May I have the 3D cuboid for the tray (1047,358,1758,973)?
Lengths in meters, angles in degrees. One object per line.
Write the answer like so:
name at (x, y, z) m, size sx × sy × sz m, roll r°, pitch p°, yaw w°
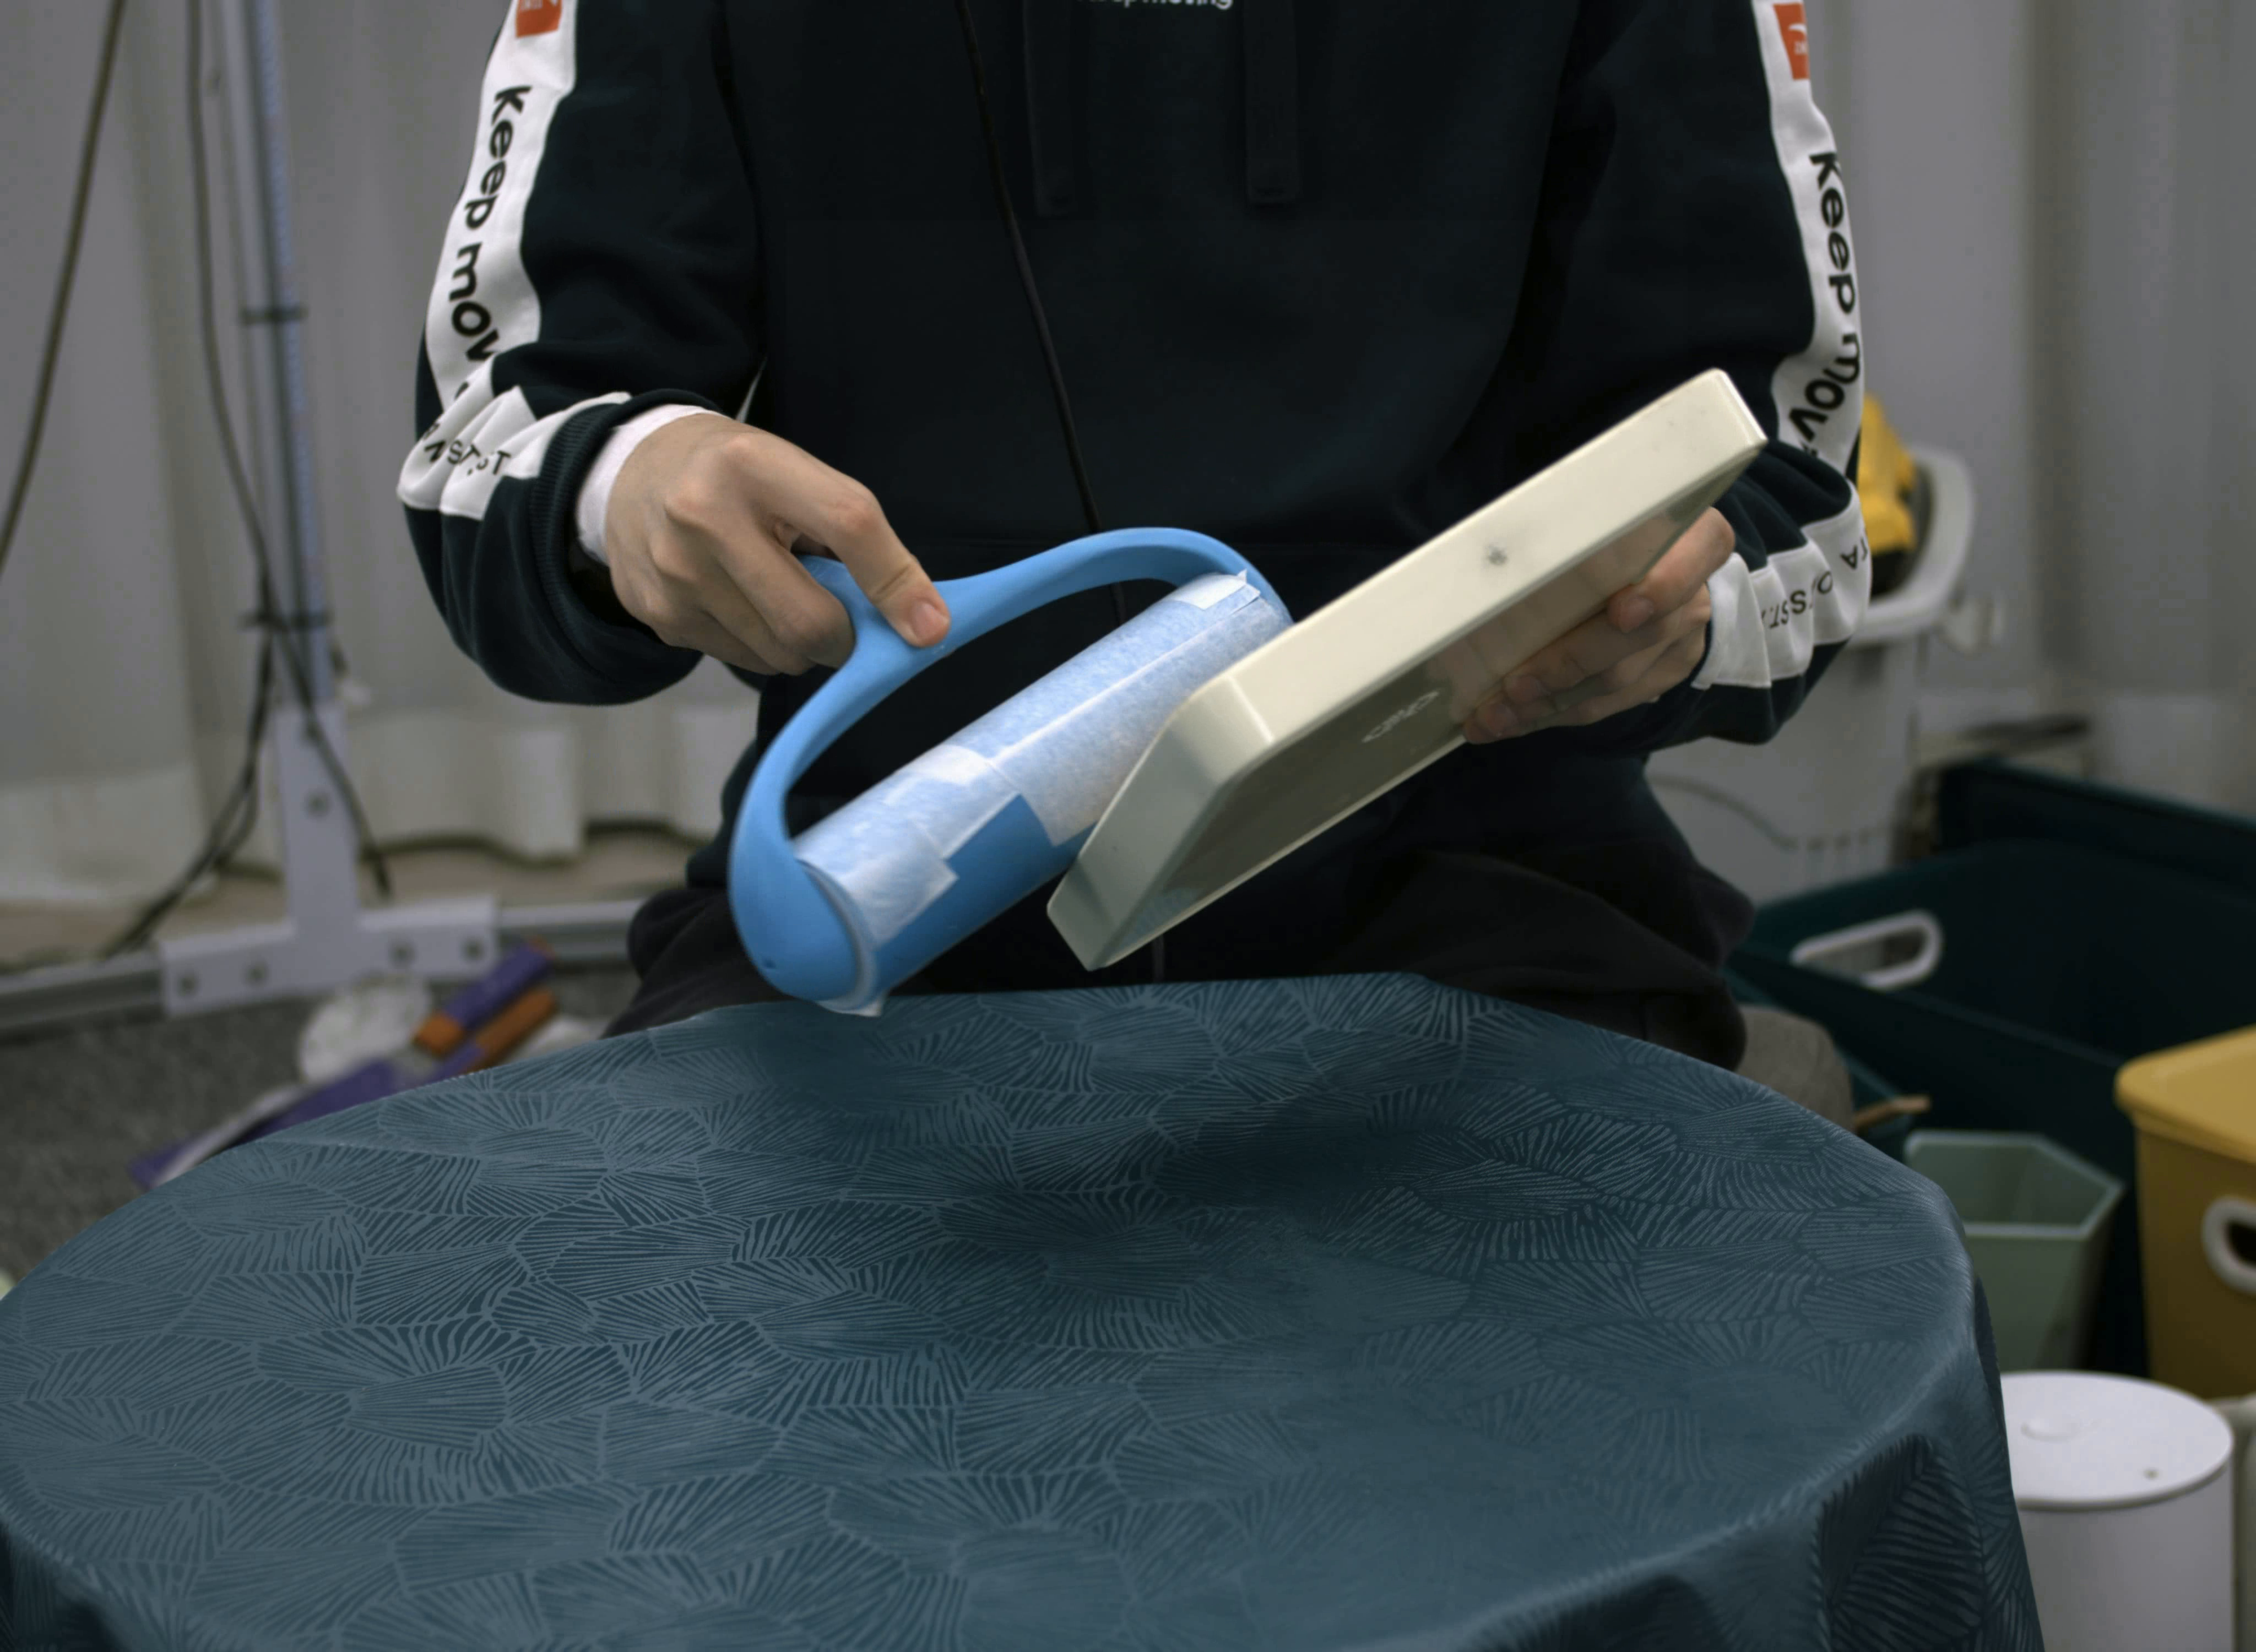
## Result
tray at (0.076, -0.041, 1.641) m, size 0.191 × 0.027 × 0.299 m, roll -33°, pitch -6°, yaw -14°

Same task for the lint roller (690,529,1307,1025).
lint roller at (-0.071, -0.041, 1.705) m, size 0.181 × 0.067 × 0.230 m, roll 33°, pitch 52°, yaw 26°
